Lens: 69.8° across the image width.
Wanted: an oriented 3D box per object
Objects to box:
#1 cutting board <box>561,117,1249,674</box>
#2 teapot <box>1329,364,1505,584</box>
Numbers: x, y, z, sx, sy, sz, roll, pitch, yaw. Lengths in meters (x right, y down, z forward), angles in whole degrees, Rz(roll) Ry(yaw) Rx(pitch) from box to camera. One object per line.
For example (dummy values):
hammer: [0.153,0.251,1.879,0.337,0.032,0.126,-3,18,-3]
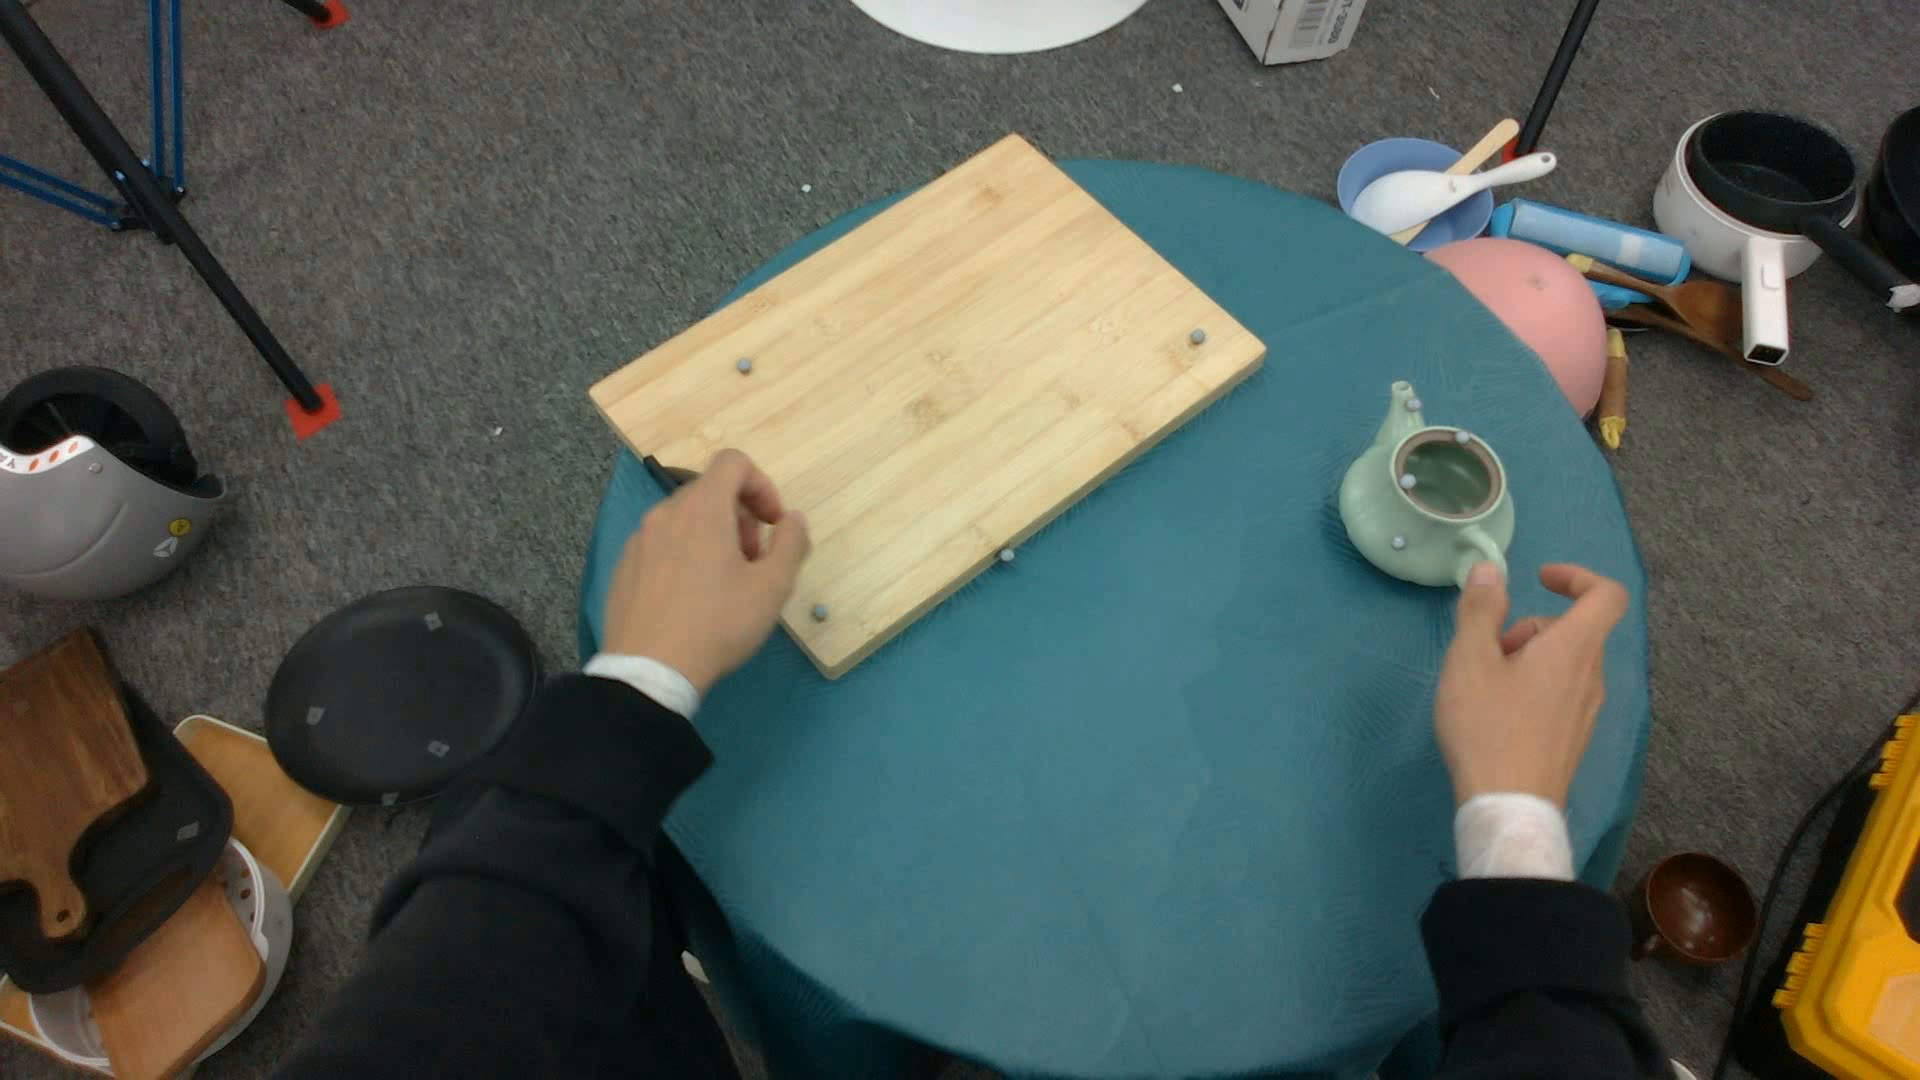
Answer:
cutting board: [-0.028,-0.106,0.839,0.350,0.023,0.251,-37,67,-20]
teapot: [0.262,-0.031,0.775,0.096,0.061,0.137,-15,61,-11]
